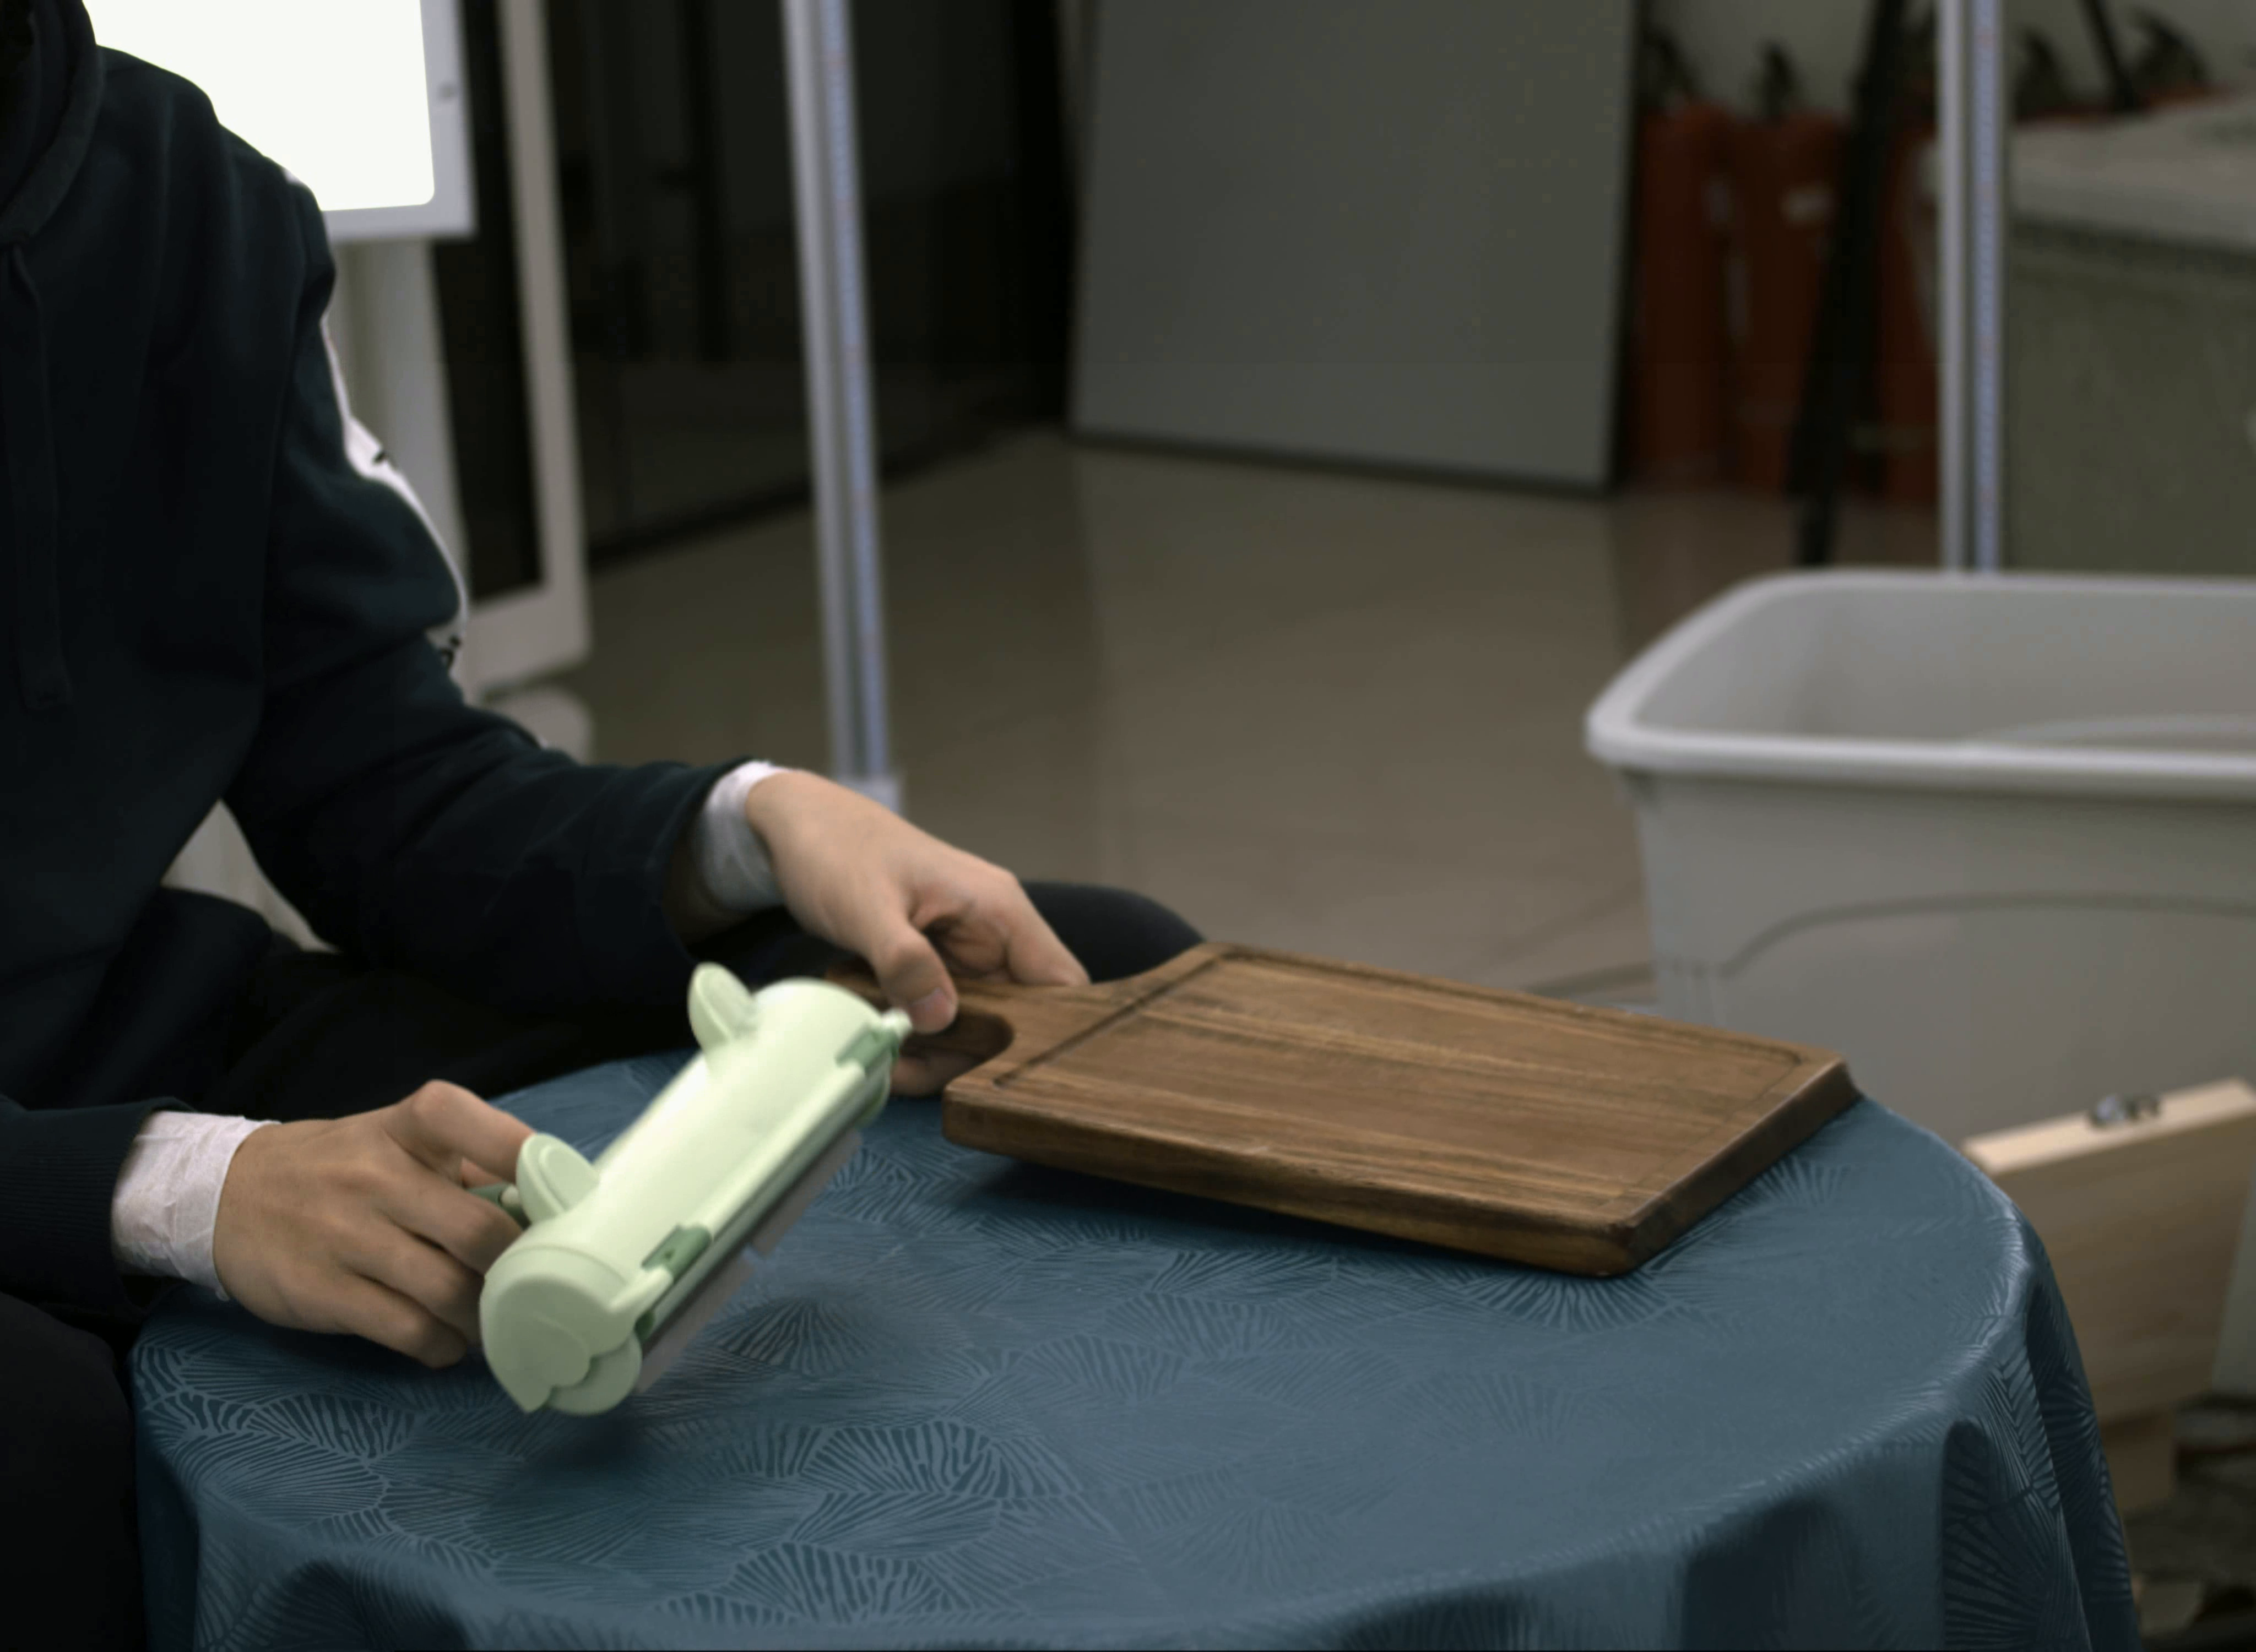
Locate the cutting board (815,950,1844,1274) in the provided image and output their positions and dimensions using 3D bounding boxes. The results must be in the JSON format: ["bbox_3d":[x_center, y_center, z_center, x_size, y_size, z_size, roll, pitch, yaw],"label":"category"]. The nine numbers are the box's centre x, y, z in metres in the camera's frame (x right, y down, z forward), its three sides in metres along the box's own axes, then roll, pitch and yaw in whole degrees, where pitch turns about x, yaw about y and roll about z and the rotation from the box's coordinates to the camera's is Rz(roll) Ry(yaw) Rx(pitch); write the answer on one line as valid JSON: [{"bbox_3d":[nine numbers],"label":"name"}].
[{"bbox_3d":[0.047,0.084,1.811,0.353,0.023,0.198,8,18,28],"label":"cutting board"}]

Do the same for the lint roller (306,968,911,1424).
[{"bbox_3d":[-0.180,0.109,1.637,0.184,0.083,0.197,-5,21,27],"label":"lint roller"}]
